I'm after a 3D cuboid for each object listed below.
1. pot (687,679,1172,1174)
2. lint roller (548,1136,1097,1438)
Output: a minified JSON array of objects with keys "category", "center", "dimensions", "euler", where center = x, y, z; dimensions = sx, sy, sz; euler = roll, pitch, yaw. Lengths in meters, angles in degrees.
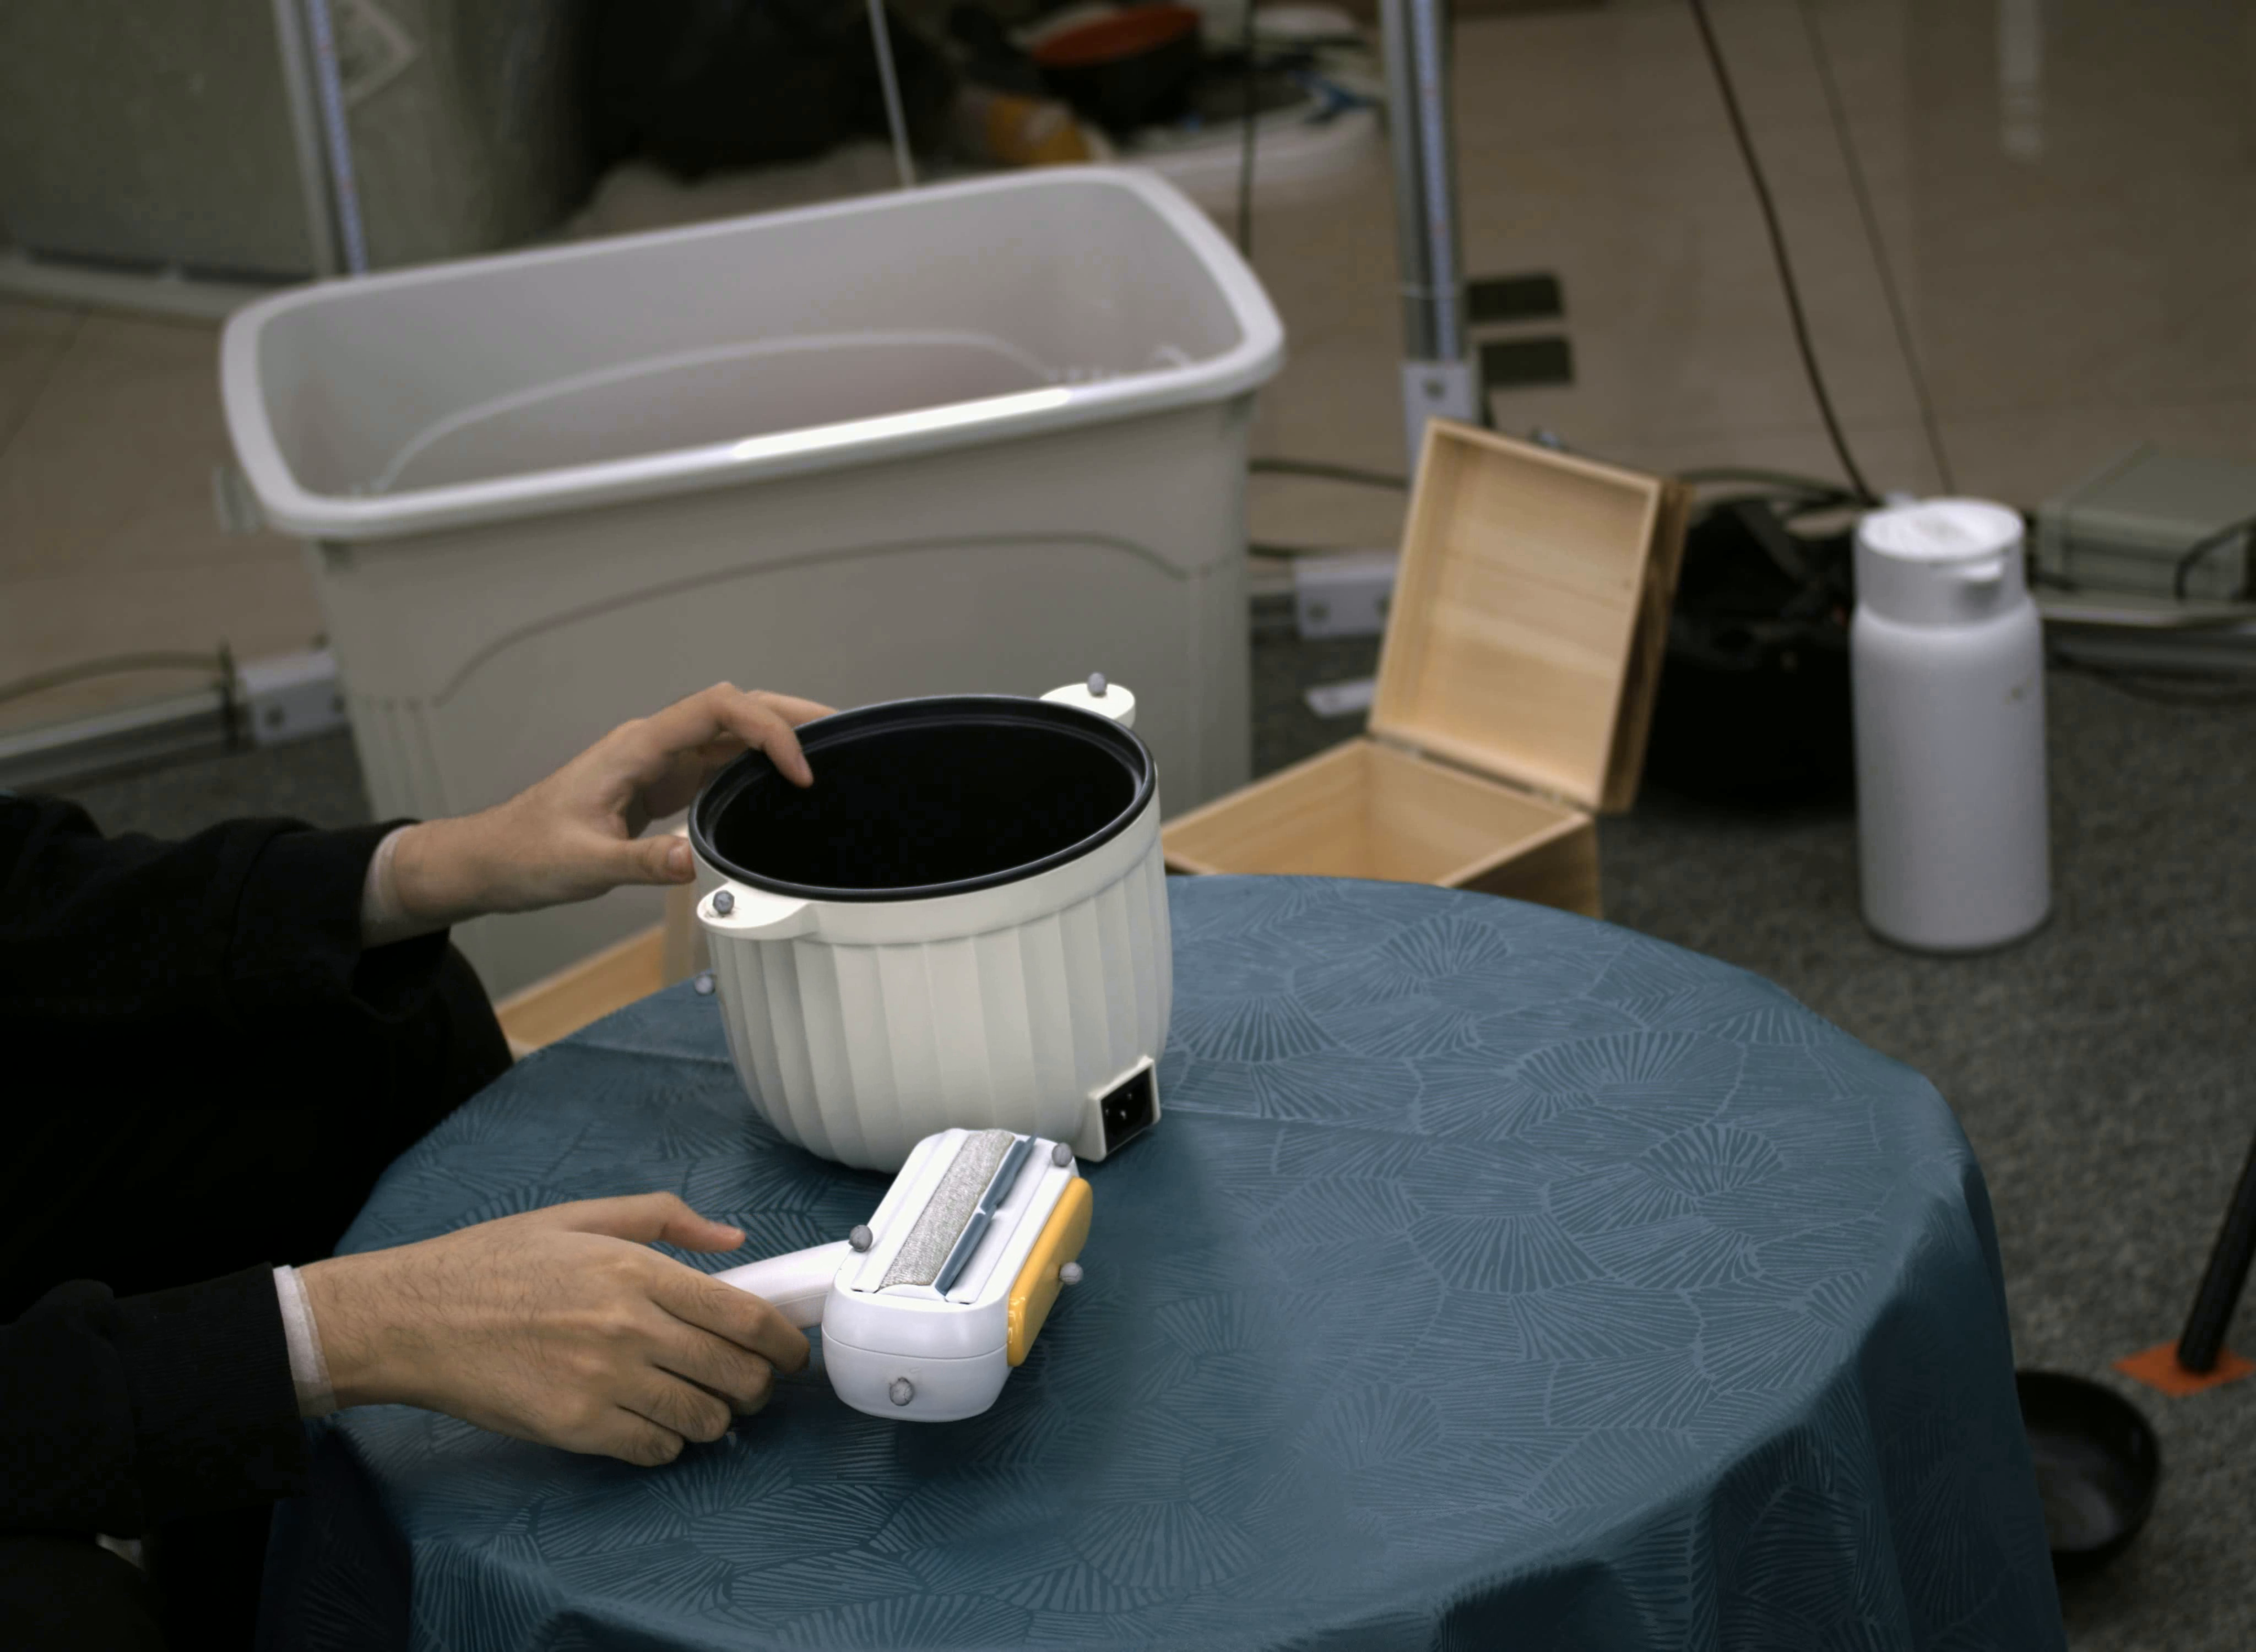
[{"category":"pot","center":[-0.078,0.045,2.196],"dimensions":[0.189,0.145,0.238],"euler":[17,33,35]},{"category":"lint roller","center":[-0.118,0.168,2.029],"dimensions":[0.192,0.075,0.190],"euler":[-2,20,14]}]
